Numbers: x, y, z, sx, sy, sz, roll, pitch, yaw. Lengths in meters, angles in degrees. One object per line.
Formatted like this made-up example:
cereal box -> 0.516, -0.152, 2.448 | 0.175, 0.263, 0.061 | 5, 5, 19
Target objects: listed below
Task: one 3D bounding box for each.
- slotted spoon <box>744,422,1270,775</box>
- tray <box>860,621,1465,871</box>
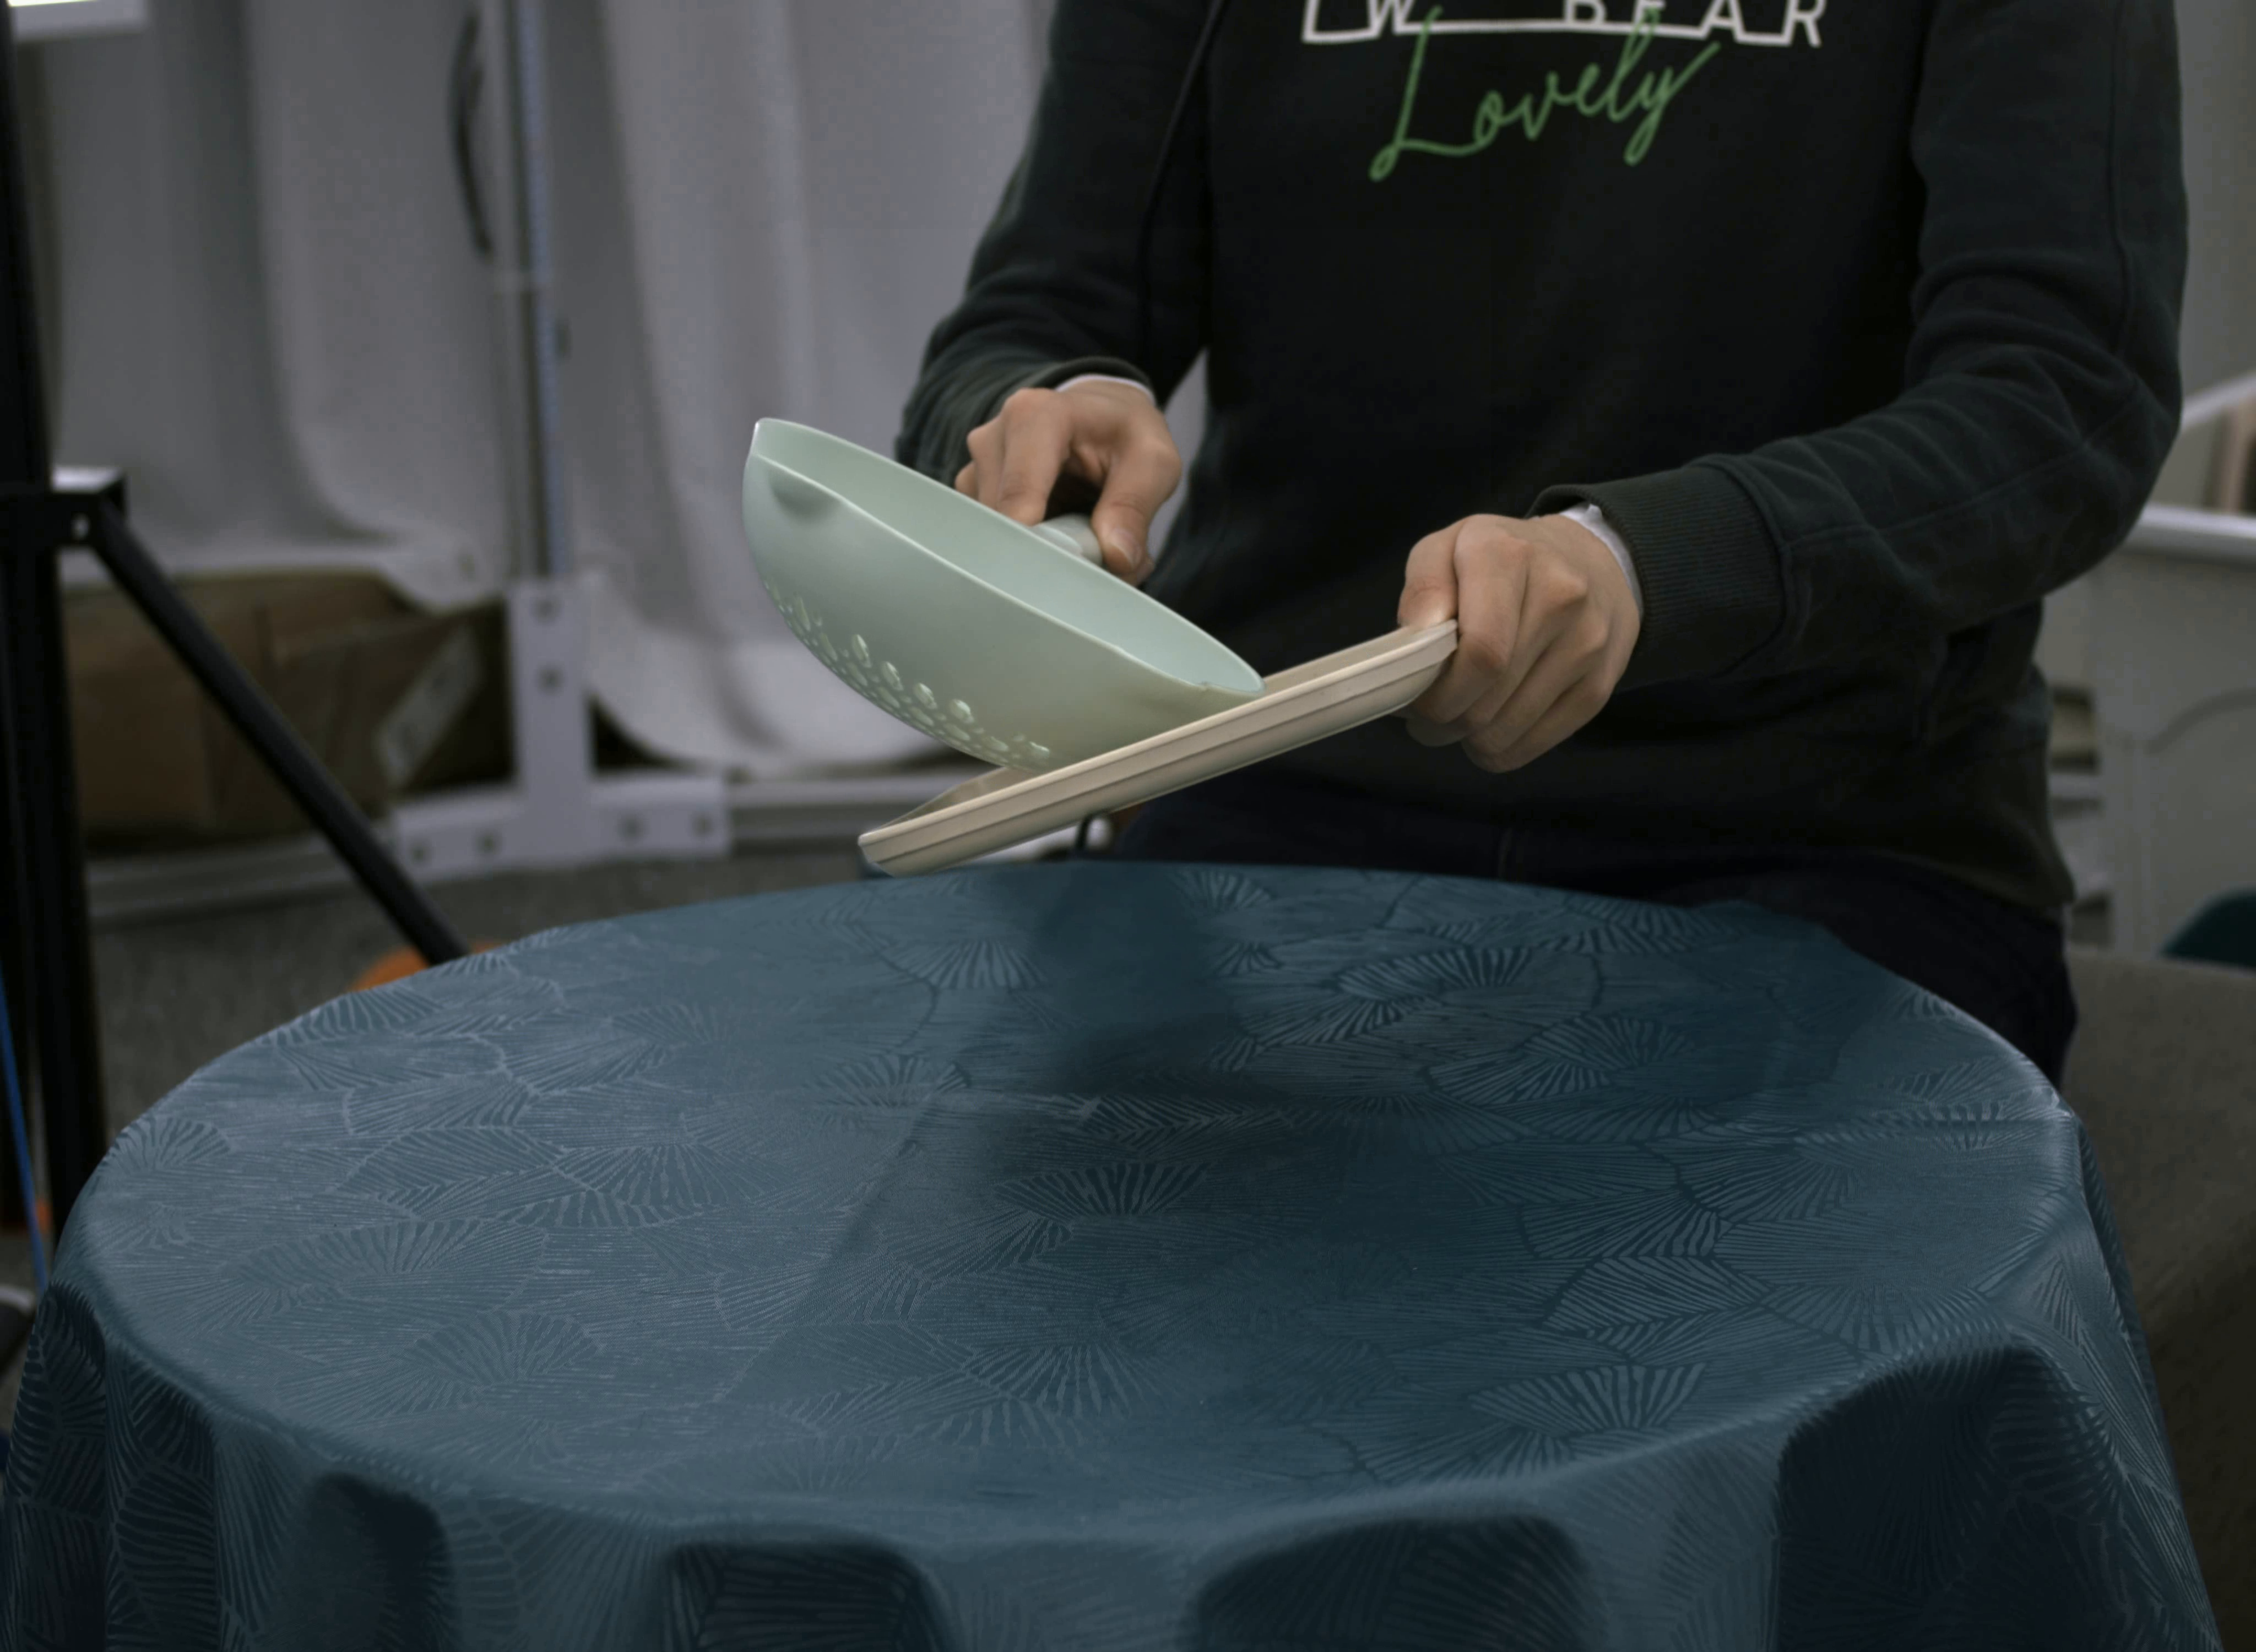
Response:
slotted spoon -> -0.028, -0.076, 1.652 | 0.169, 0.076, 0.356 | 29, 16, 4
tray -> 0.016, -0.023, 1.559 | 0.171, 0.017, 0.238 | -19, 1, 8
